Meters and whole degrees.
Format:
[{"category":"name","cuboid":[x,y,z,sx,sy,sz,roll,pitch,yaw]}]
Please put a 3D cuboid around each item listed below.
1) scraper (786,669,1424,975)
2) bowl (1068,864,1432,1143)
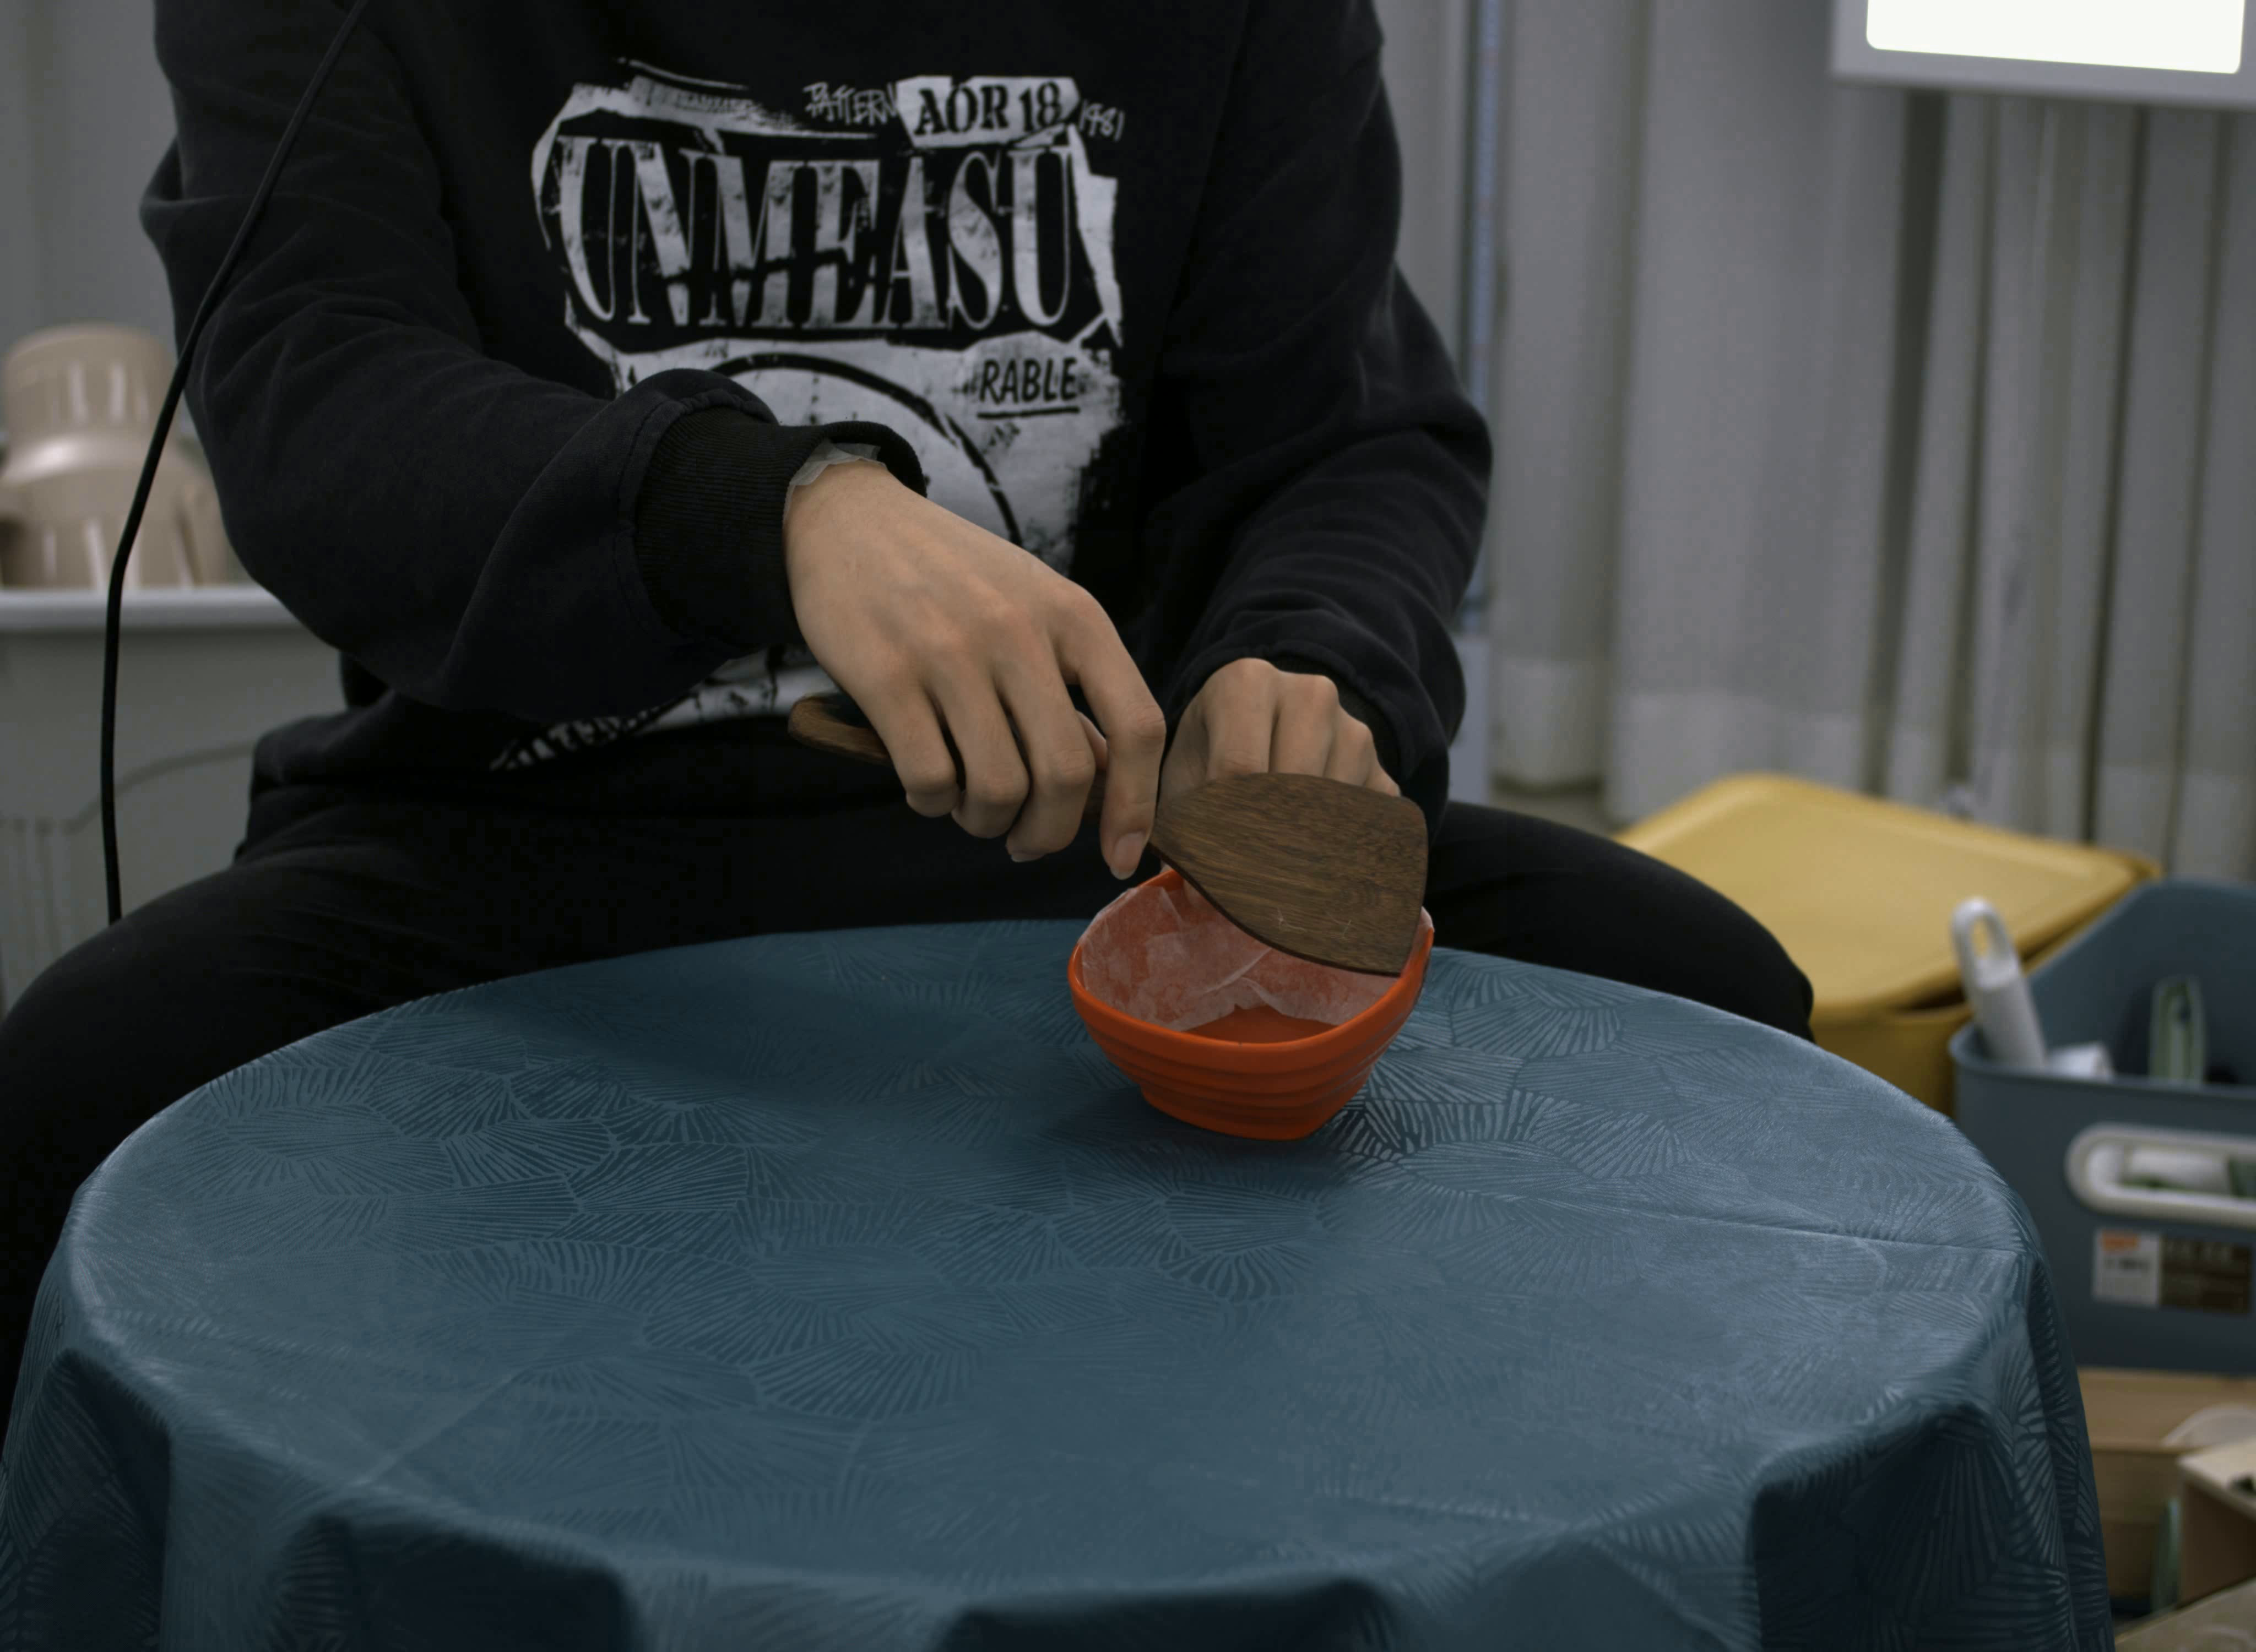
[{"category":"scraper","cuboid":[-0.007,-0.009,1.668,0.211,0.011,0.075,18,50,-8]},{"category":"bowl","cuboid":[0.041,0.060,1.693,0.118,0.052,0.118,-3,32,2]}]
